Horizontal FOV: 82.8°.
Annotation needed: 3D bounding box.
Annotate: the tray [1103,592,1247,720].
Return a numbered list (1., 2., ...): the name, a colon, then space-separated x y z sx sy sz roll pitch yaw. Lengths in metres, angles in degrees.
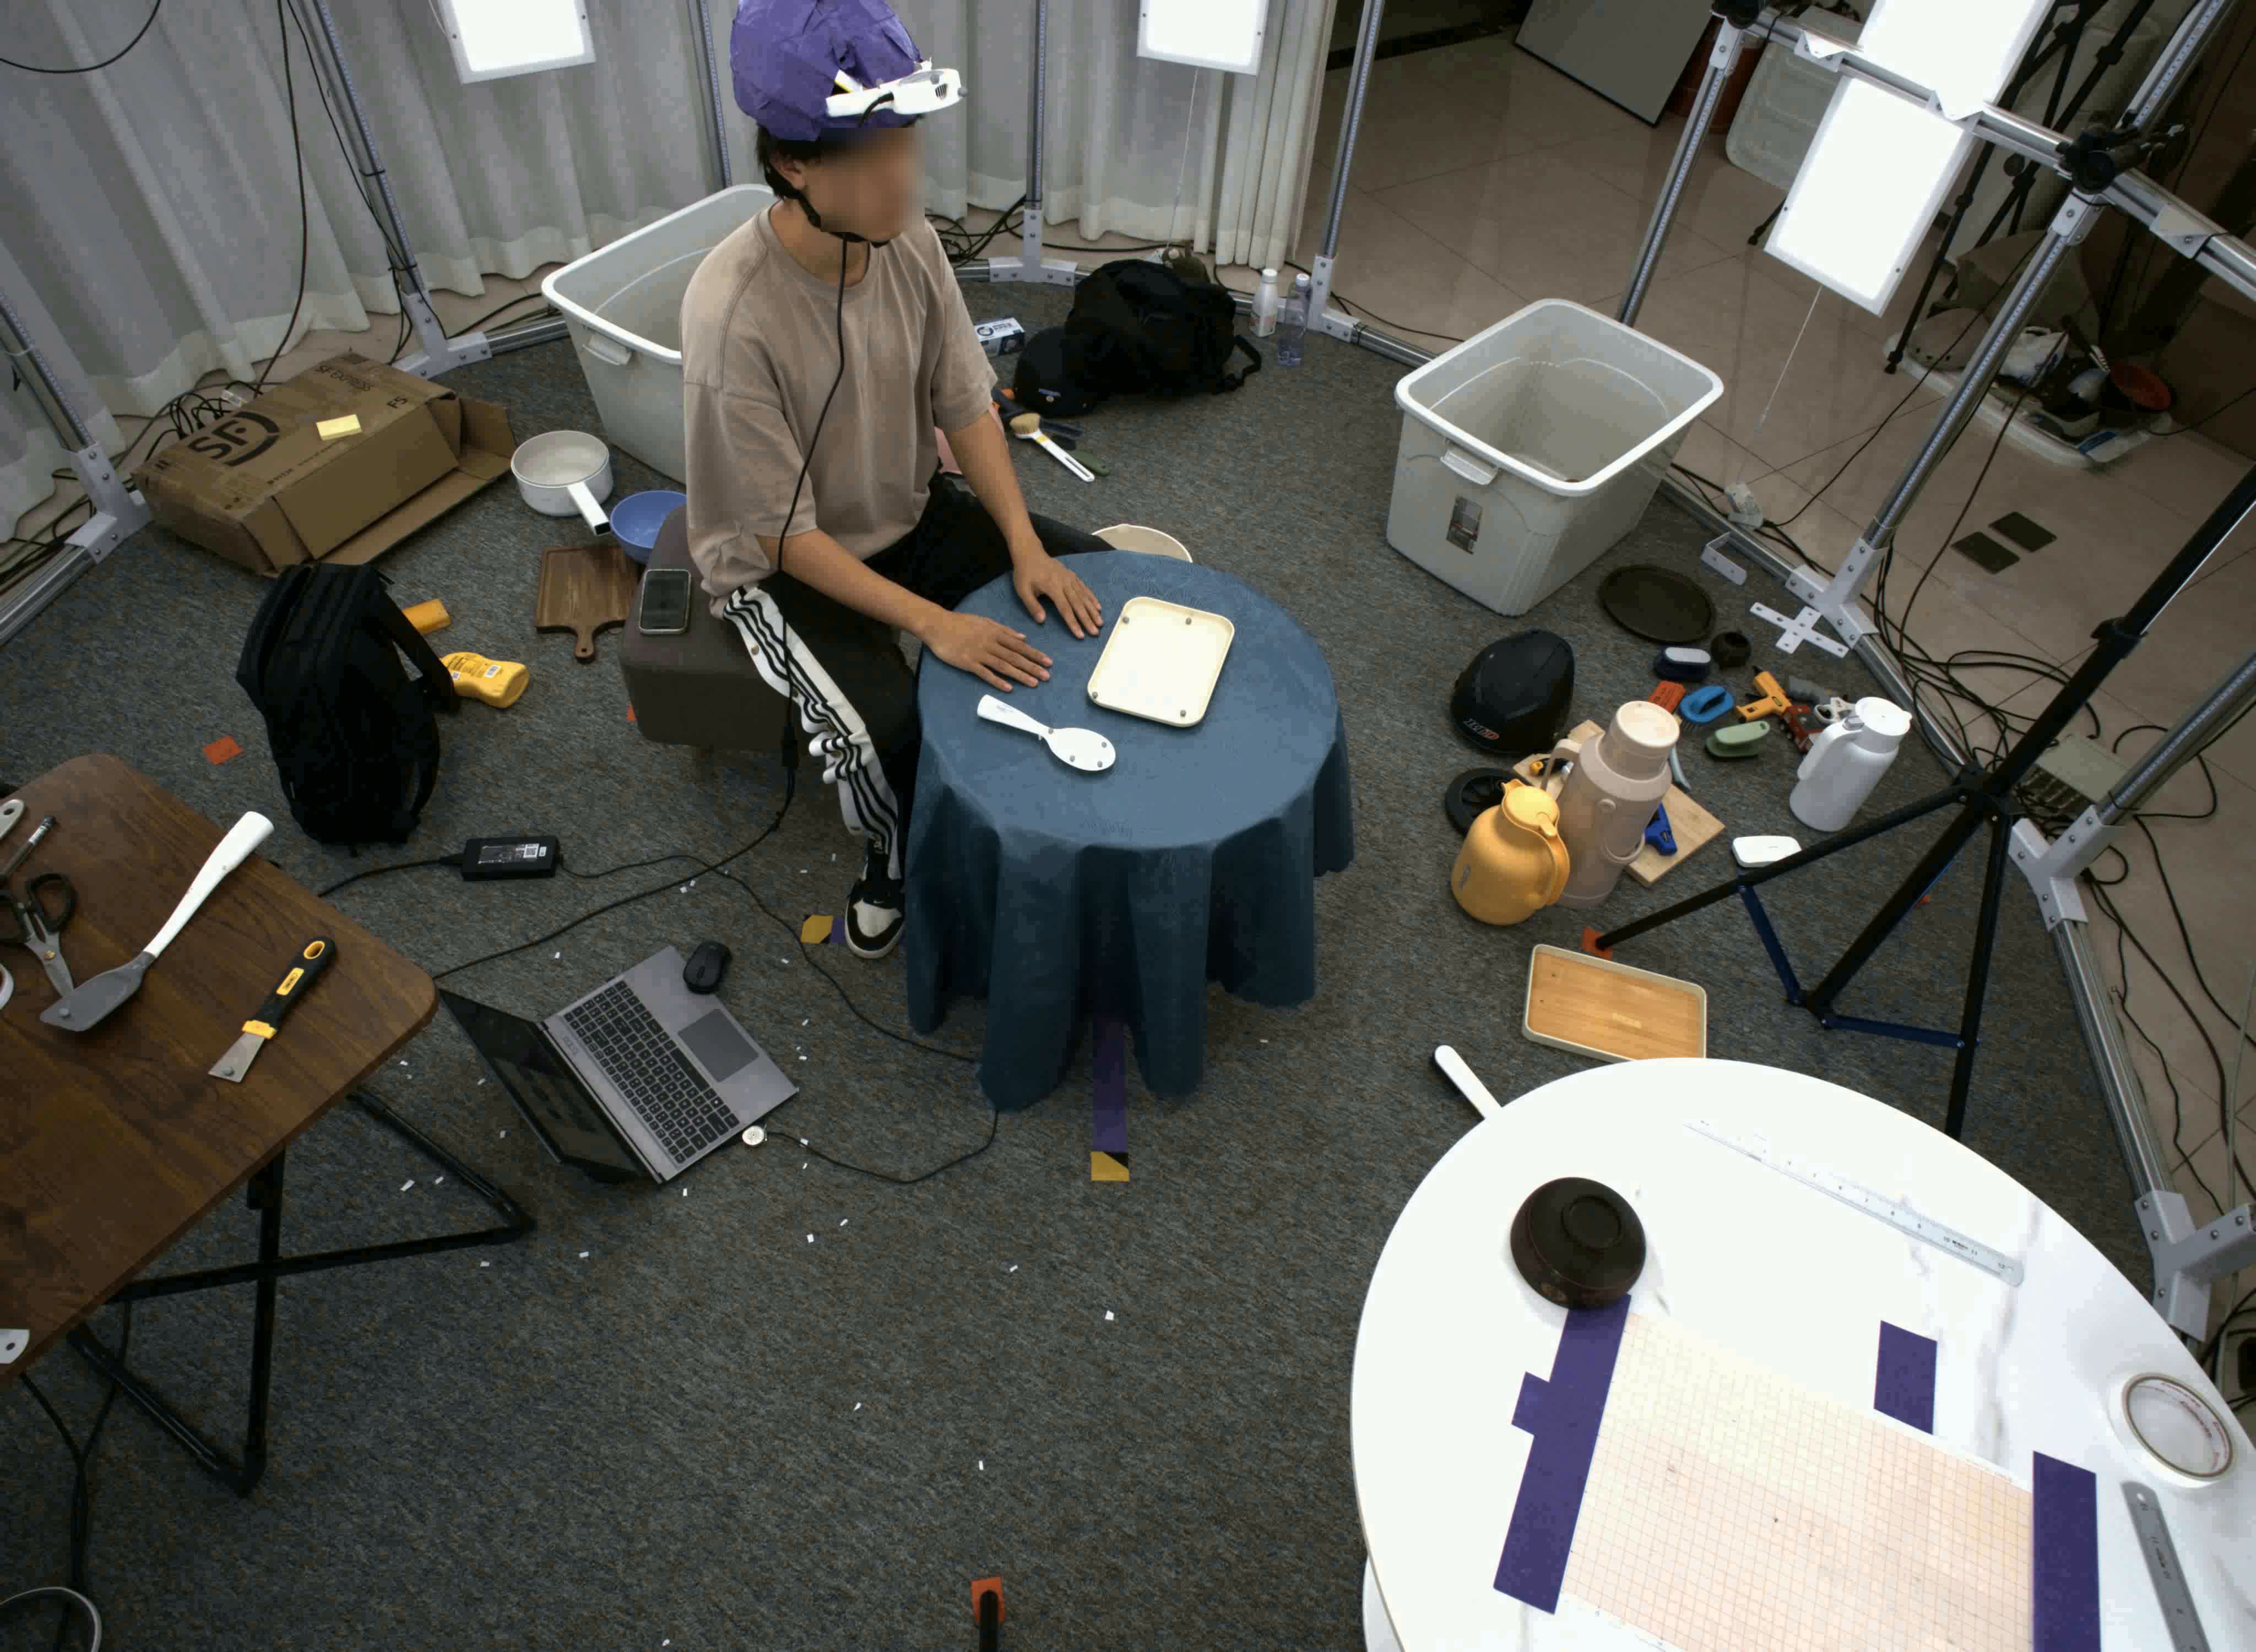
1. tray: 0.071 -0.248 1.864 0.172 0.017 0.245 16 49 8

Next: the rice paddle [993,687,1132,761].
1. rice paddle: -0.088 -0.139 1.744 0.206 0.029 0.070 24 52 15
